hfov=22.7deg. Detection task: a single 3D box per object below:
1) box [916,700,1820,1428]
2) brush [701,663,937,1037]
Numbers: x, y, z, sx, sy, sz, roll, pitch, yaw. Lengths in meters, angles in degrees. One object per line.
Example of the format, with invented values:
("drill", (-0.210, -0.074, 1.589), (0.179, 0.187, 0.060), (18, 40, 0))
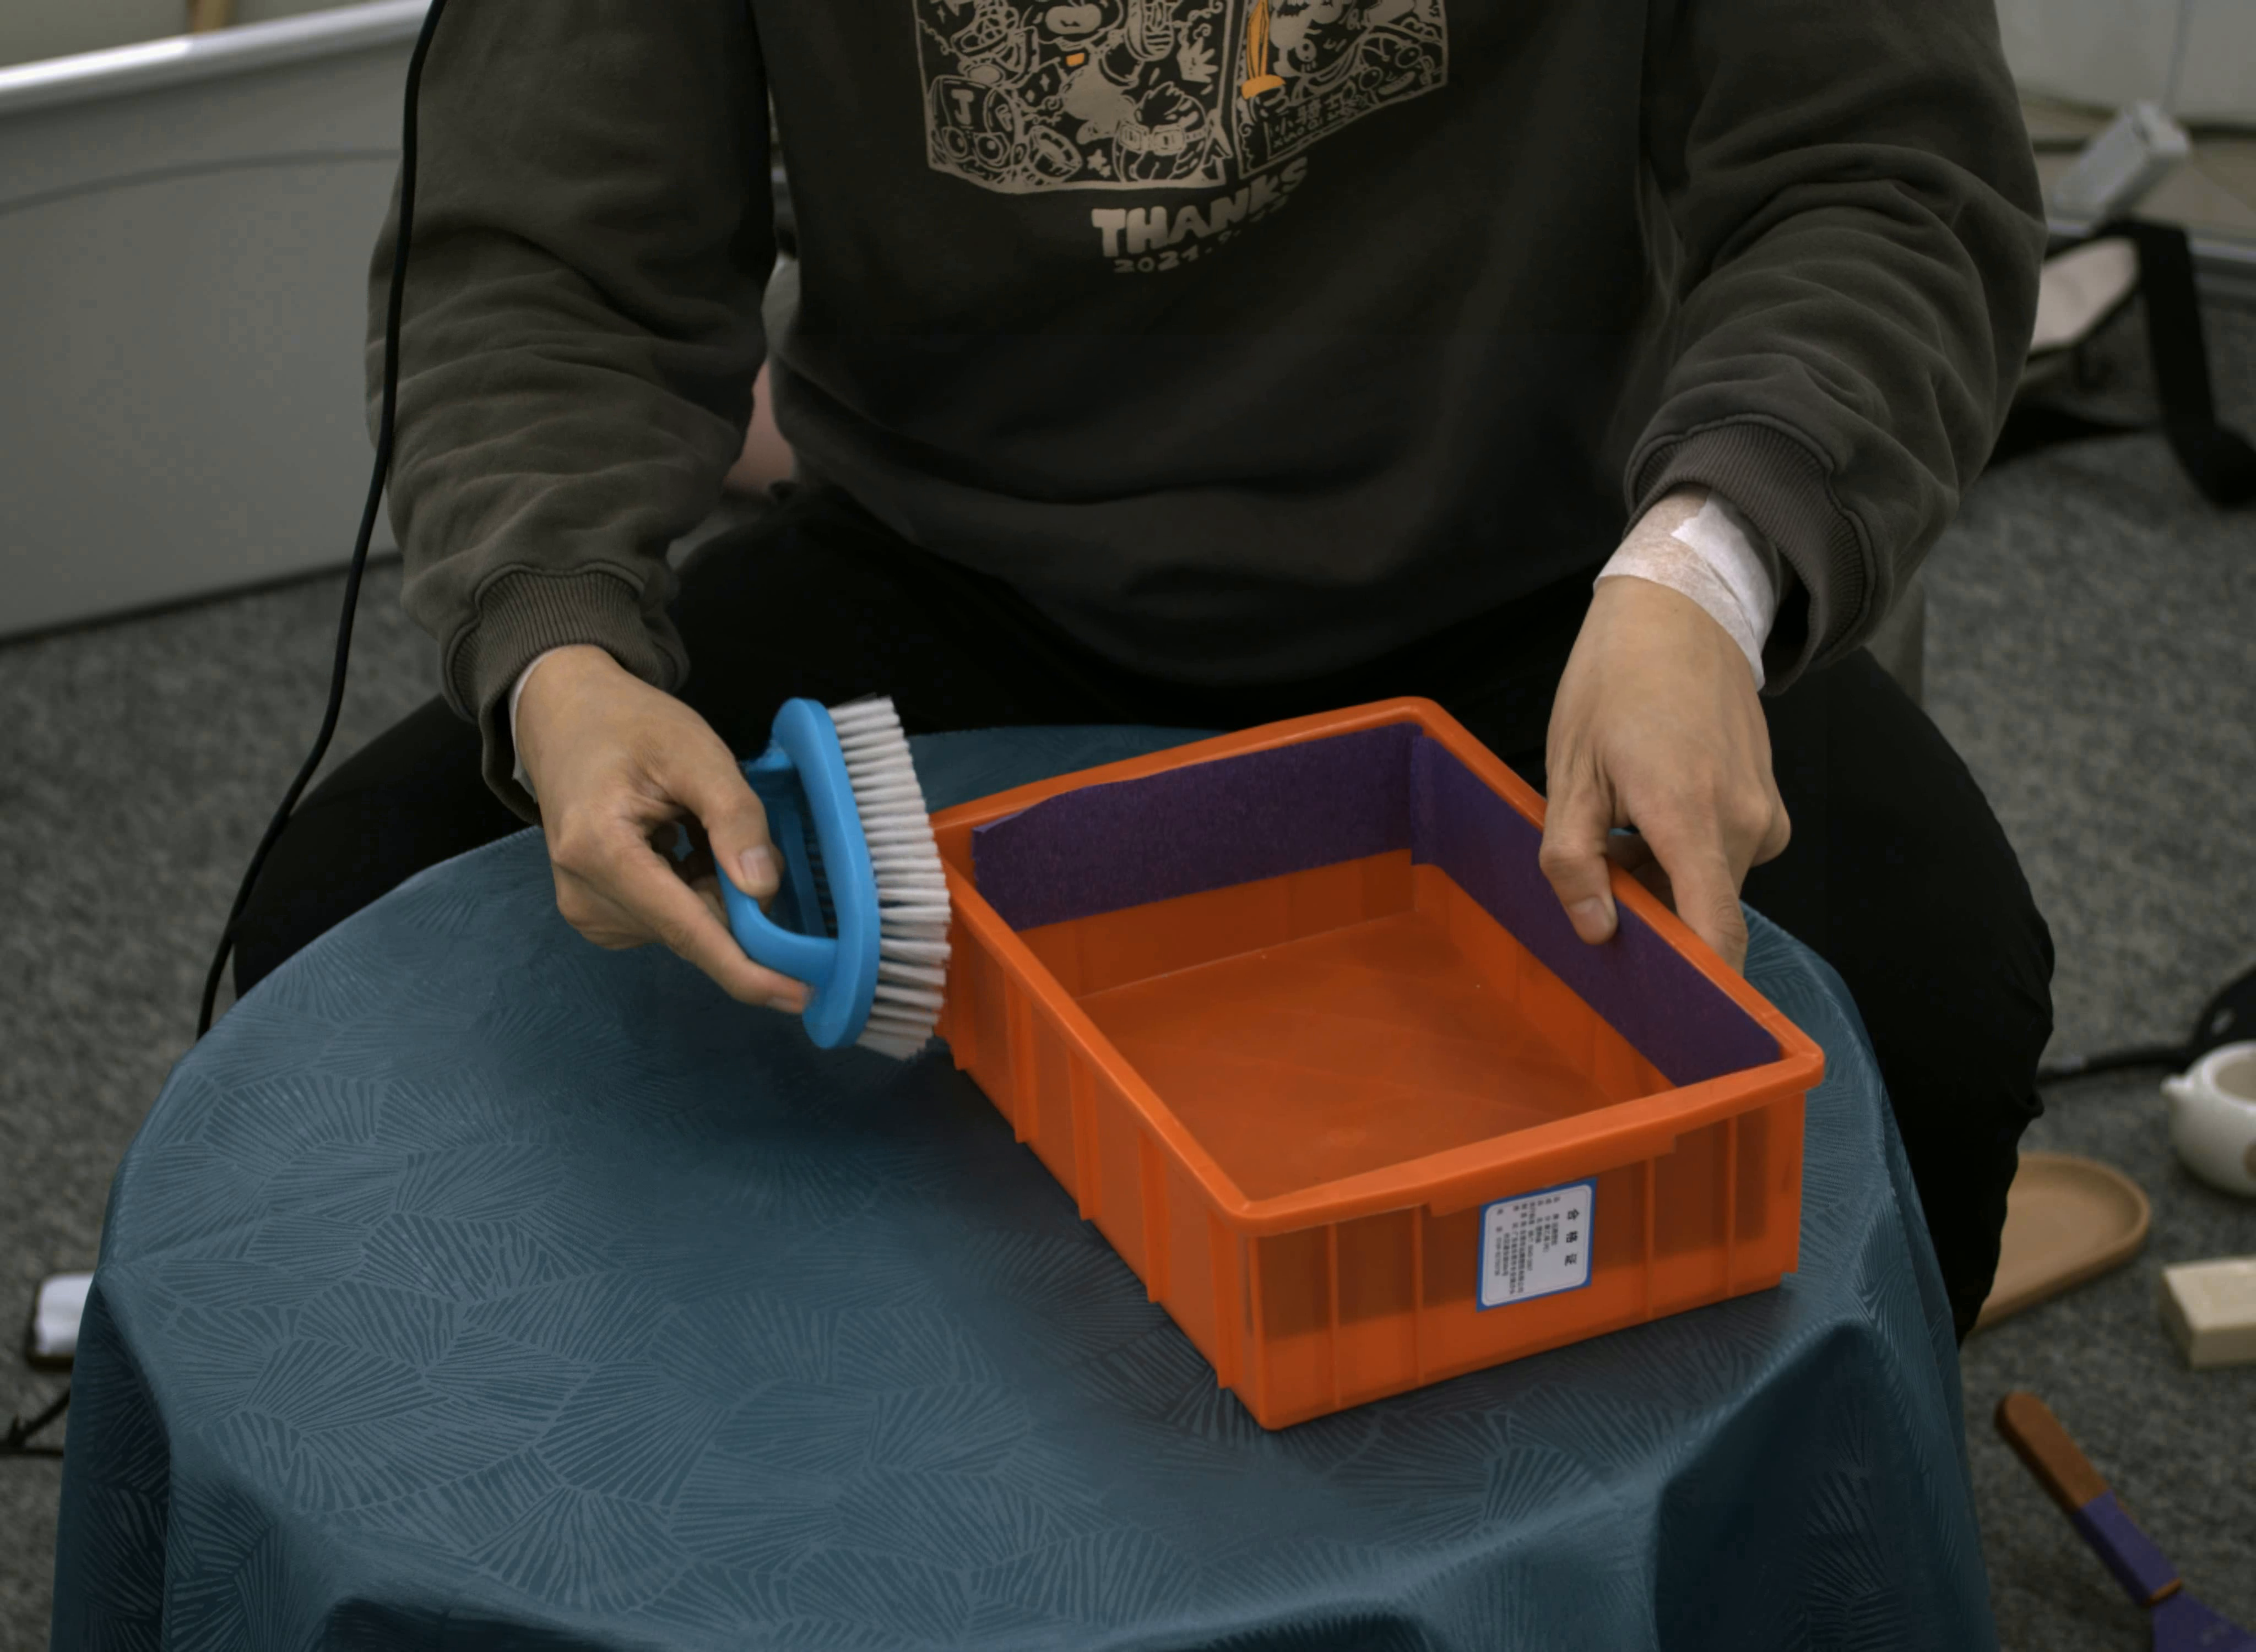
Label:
("box", (0.070, 0.074, 1.853), (0.207, 0.095, 0.306), (-13, 30, -19))
("brush", (-0.110, 0.010, 1.905), (0.064, 0.083, 0.144), (0, 49, -18))
